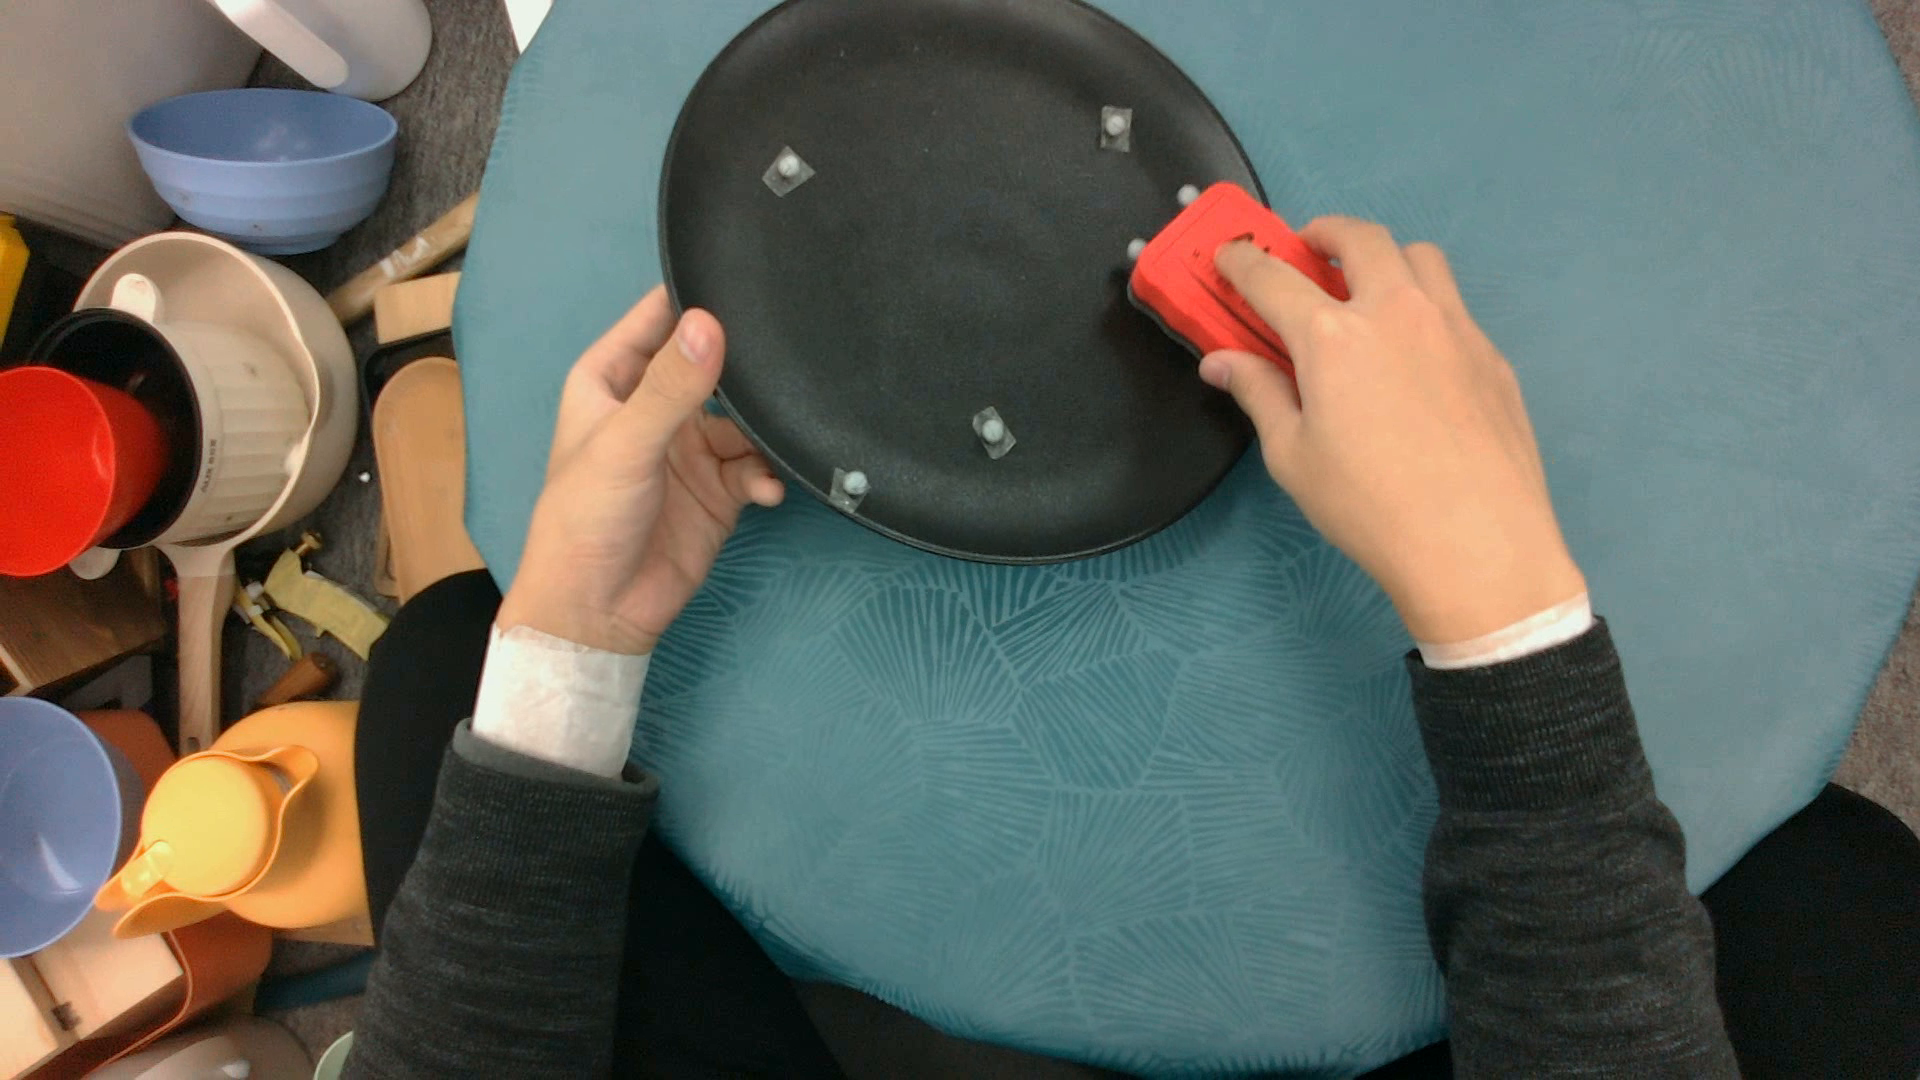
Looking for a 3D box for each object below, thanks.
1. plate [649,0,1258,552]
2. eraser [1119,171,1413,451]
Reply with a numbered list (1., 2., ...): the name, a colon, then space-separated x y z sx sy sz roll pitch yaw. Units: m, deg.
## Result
1. plate: 0.005 -0.111 0.523 0.245 0.023 0.245 5 73 -16
2. eraser: 0.116 -0.089 0.529 0.108 0.023 0.059 44 75 10
